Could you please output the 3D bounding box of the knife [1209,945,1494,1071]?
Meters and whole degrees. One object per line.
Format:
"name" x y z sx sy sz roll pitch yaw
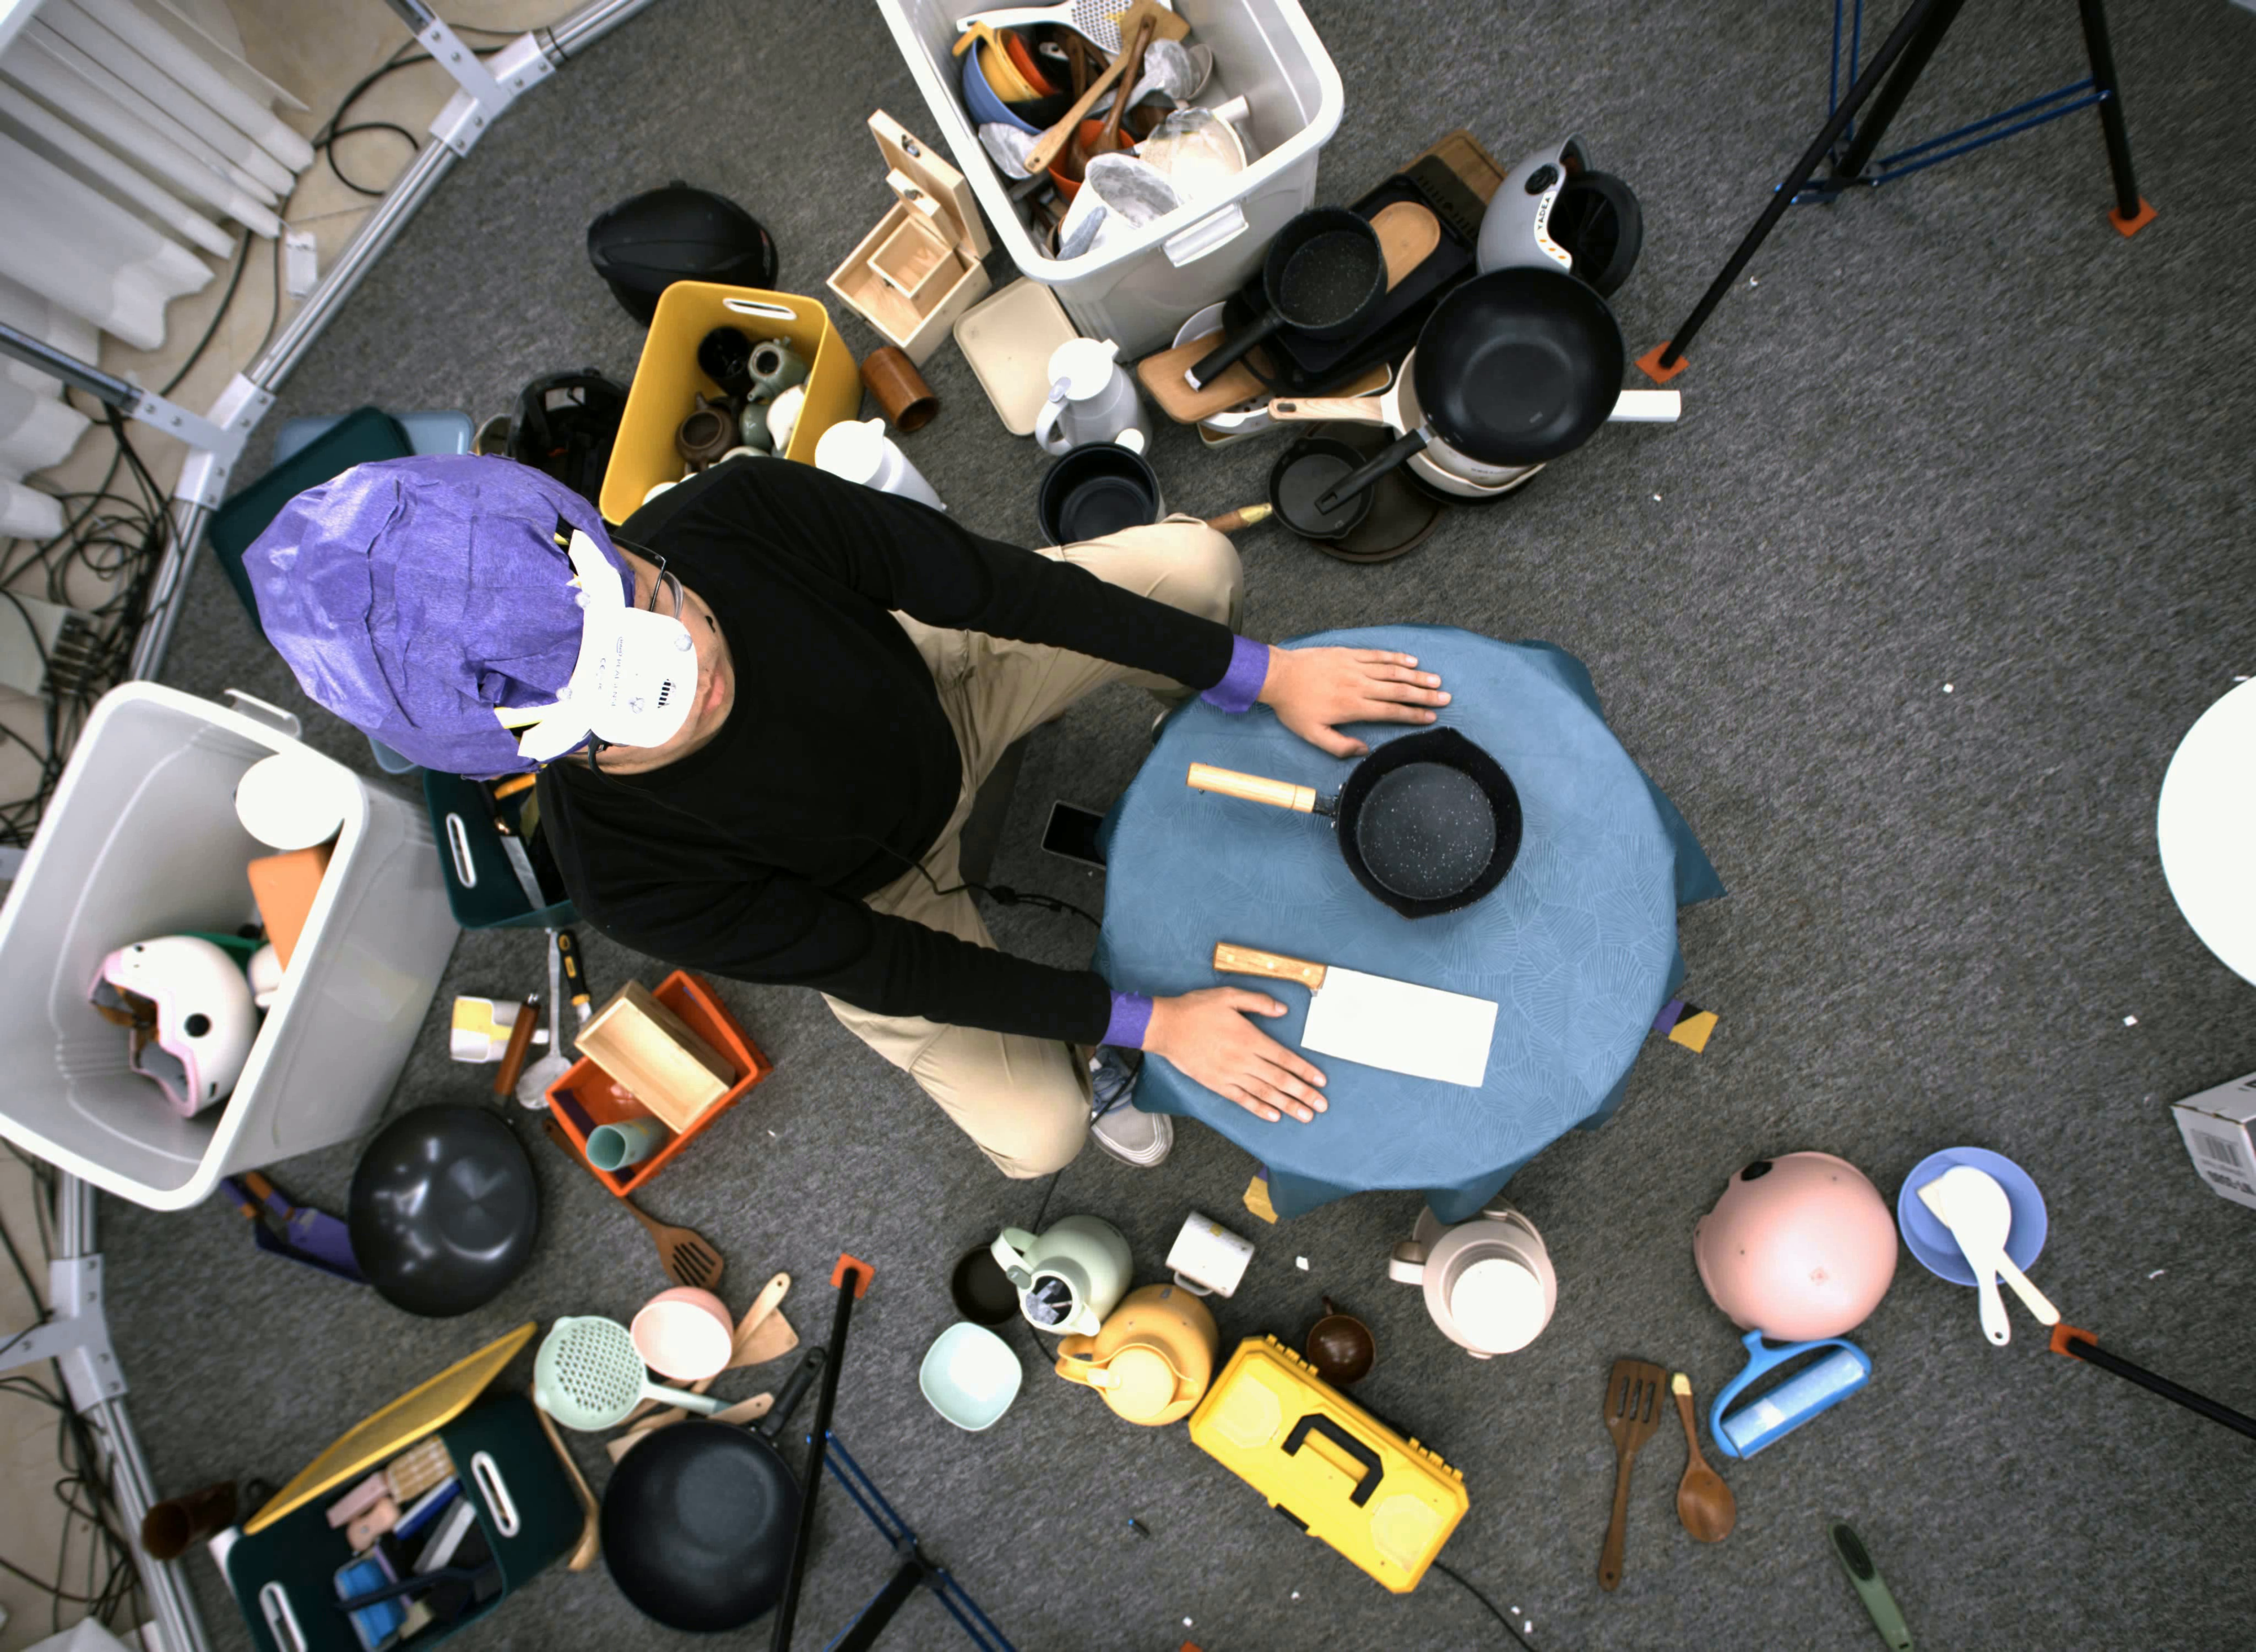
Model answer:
"knife" 0.229 0.193 1.456 0.306 0.021 0.093 12 90 9

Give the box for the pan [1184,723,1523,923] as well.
"pan" 0.228 -0.015 1.420 0.343 0.108 0.207 10 89 10
